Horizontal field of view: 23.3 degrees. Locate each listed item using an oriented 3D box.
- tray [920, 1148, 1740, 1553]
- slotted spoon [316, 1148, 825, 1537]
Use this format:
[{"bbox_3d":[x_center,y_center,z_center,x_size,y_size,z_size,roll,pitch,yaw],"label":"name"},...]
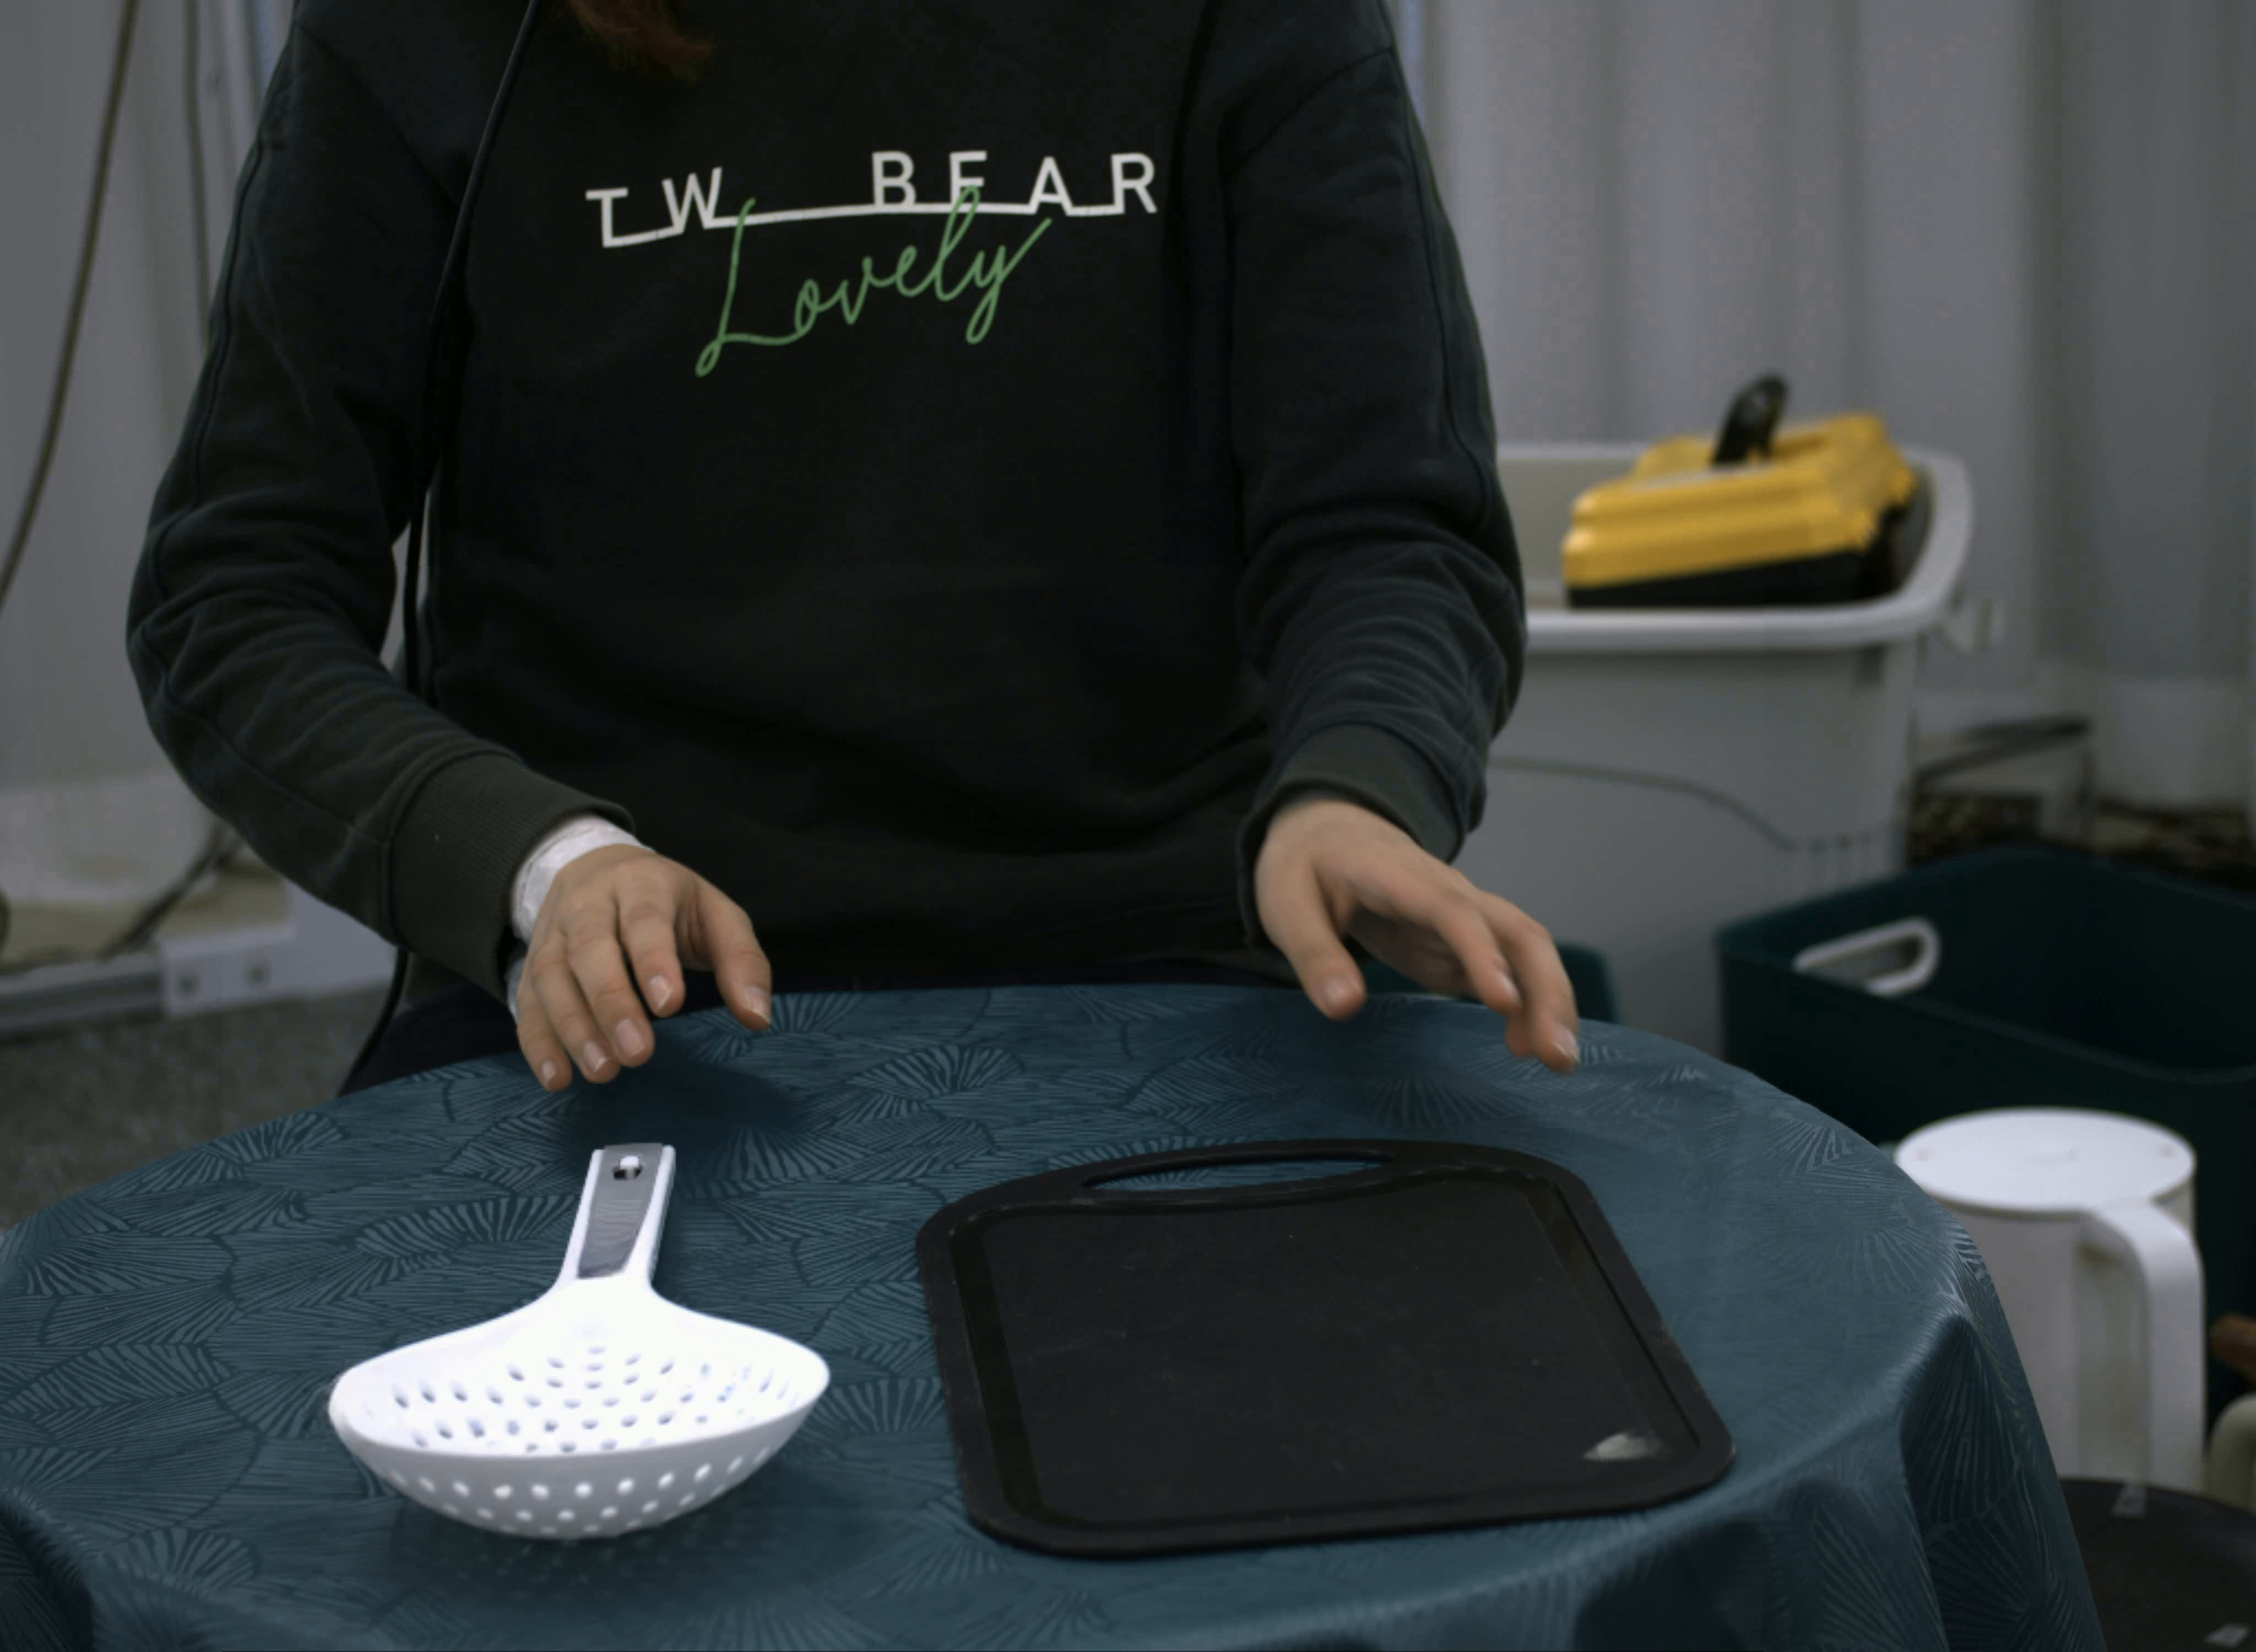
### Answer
[{"bbox_3d":[0.049,0.144,1.582,0.210,0.010,0.328,-4,15,-5],"label":"tray"},{"bbox_3d":[-0.151,0.138,1.567,0.135,0.045,0.352,-1,14,-1],"label":"slotted spoon"}]
